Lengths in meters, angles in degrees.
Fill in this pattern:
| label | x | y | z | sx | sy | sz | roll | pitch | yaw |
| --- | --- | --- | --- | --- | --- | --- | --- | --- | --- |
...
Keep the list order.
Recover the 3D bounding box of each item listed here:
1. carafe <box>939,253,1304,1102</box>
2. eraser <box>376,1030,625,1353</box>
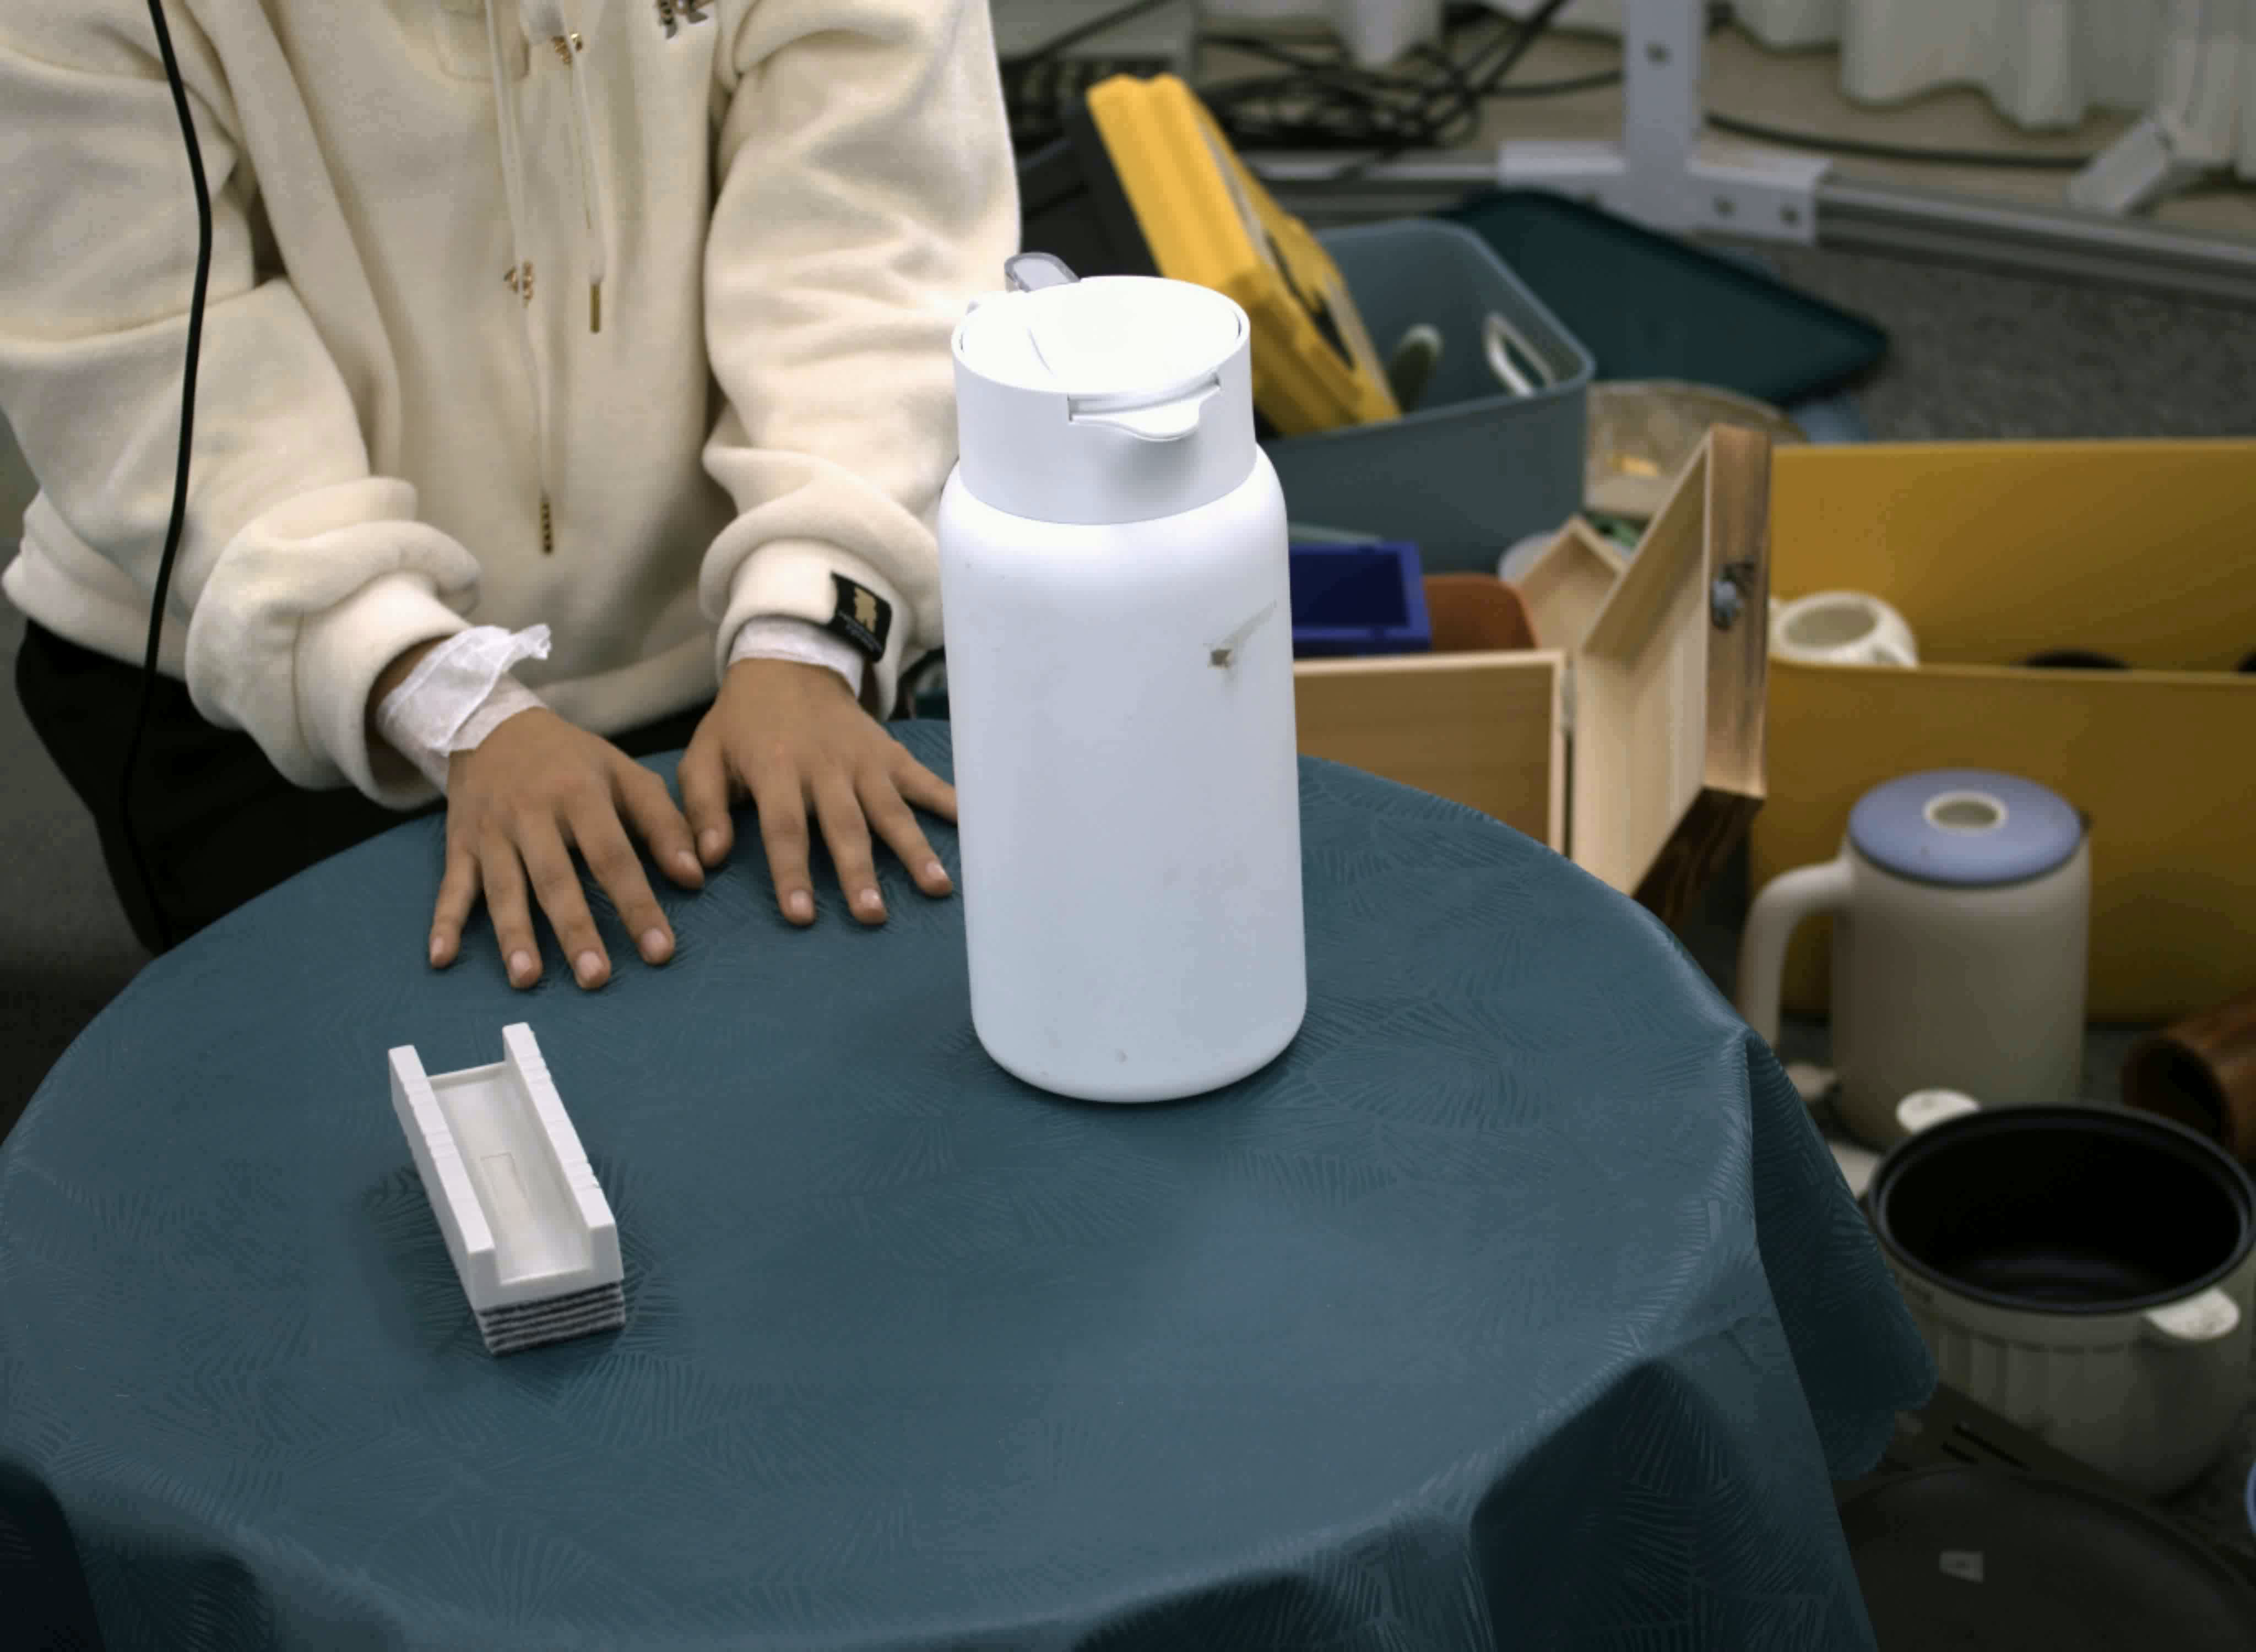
| label | x | y | z | sx | sy | sz | roll | pitch | yaw |
| --- | --- | --- | --- | --- | --- | --- | --- | --- | --- |
| carafe | -0.010 | -0.054 | 1.915 | 0.124 | 0.266 | 0.174 | -14 | 28 | -16 |
| eraser | -0.205 | 0.119 | 1.837 | 0.050 | 0.046 | 0.135 | -15 | 29 | -15 |
